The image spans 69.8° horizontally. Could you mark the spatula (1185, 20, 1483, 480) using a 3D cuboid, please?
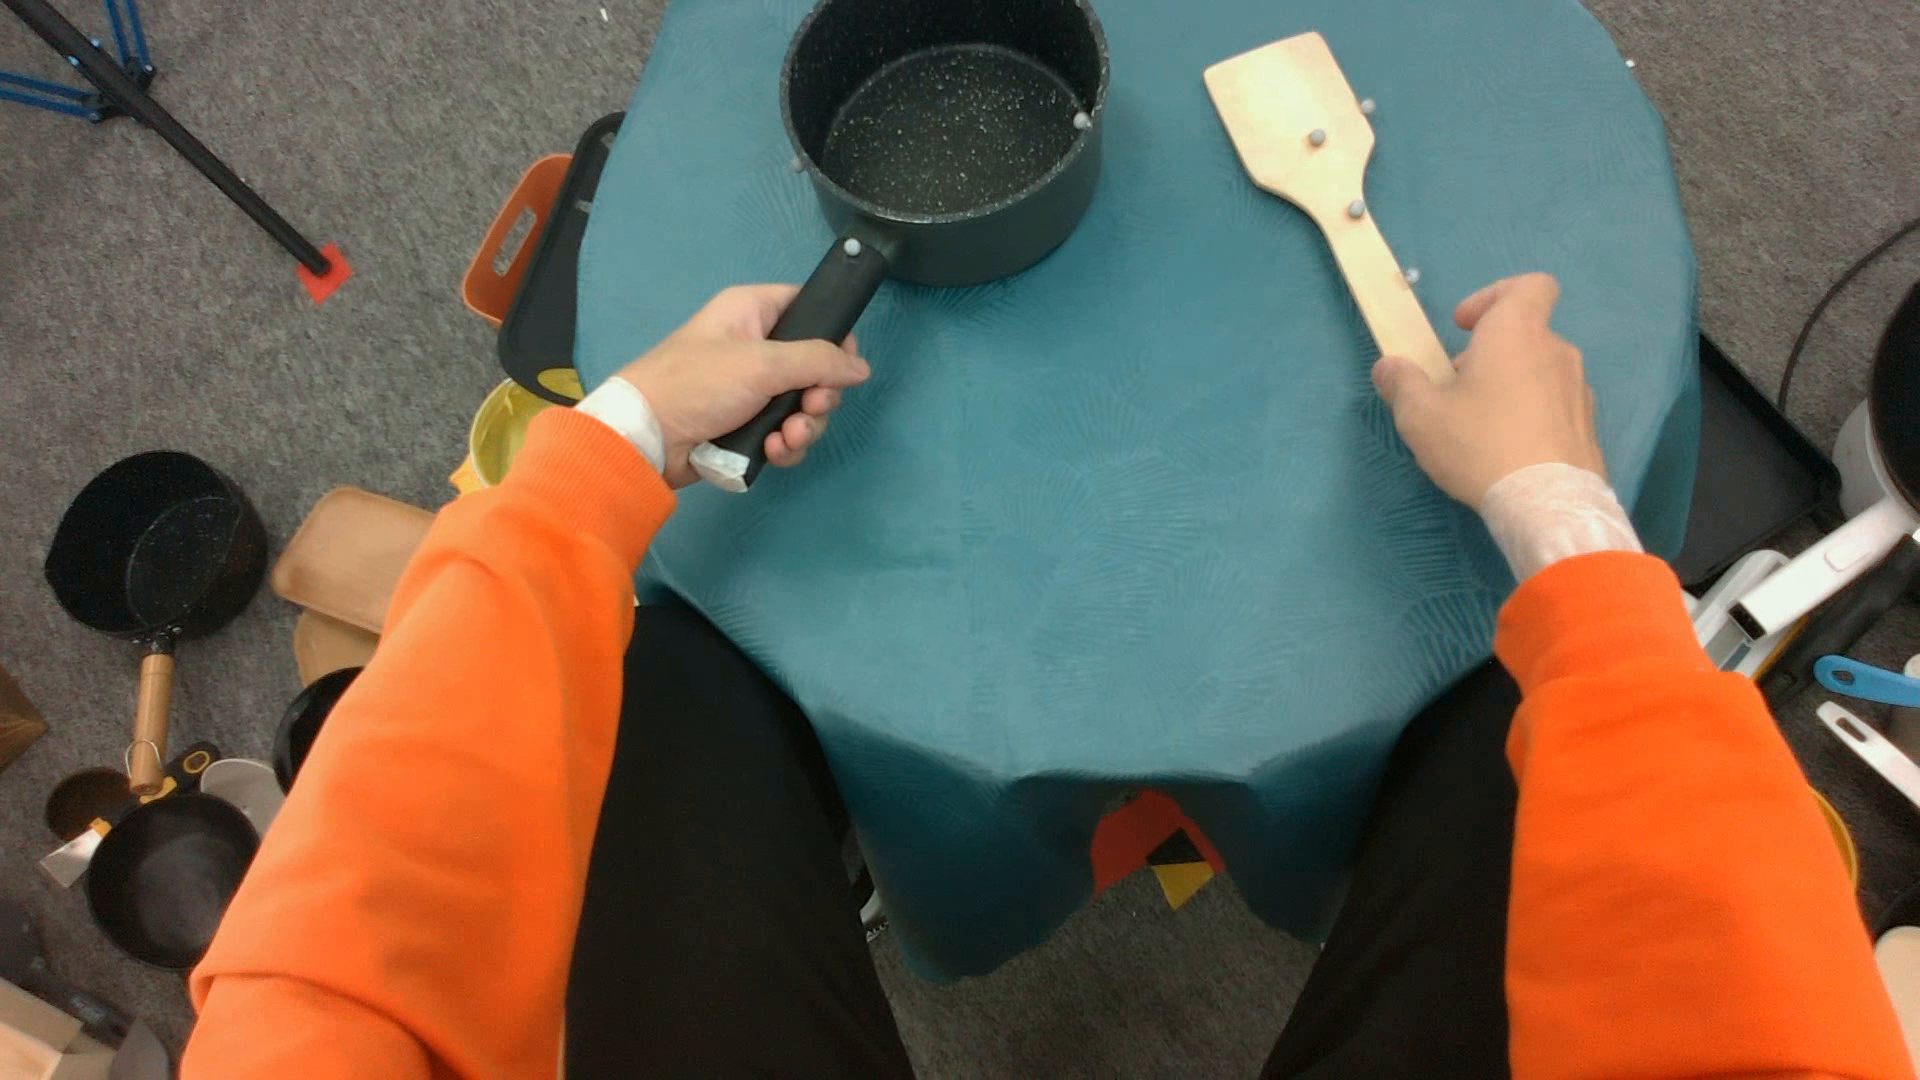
[{"bbox_3d":[0.198,-0.156,0.711,0.072,0.010,0.294,-20,63,6],"label":"spatula"}]

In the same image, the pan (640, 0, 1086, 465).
[{"bbox_3d":[-0.055,-0.166,0.717,0.172,0.086,0.329,25,73,13],"label":"pan"}]
